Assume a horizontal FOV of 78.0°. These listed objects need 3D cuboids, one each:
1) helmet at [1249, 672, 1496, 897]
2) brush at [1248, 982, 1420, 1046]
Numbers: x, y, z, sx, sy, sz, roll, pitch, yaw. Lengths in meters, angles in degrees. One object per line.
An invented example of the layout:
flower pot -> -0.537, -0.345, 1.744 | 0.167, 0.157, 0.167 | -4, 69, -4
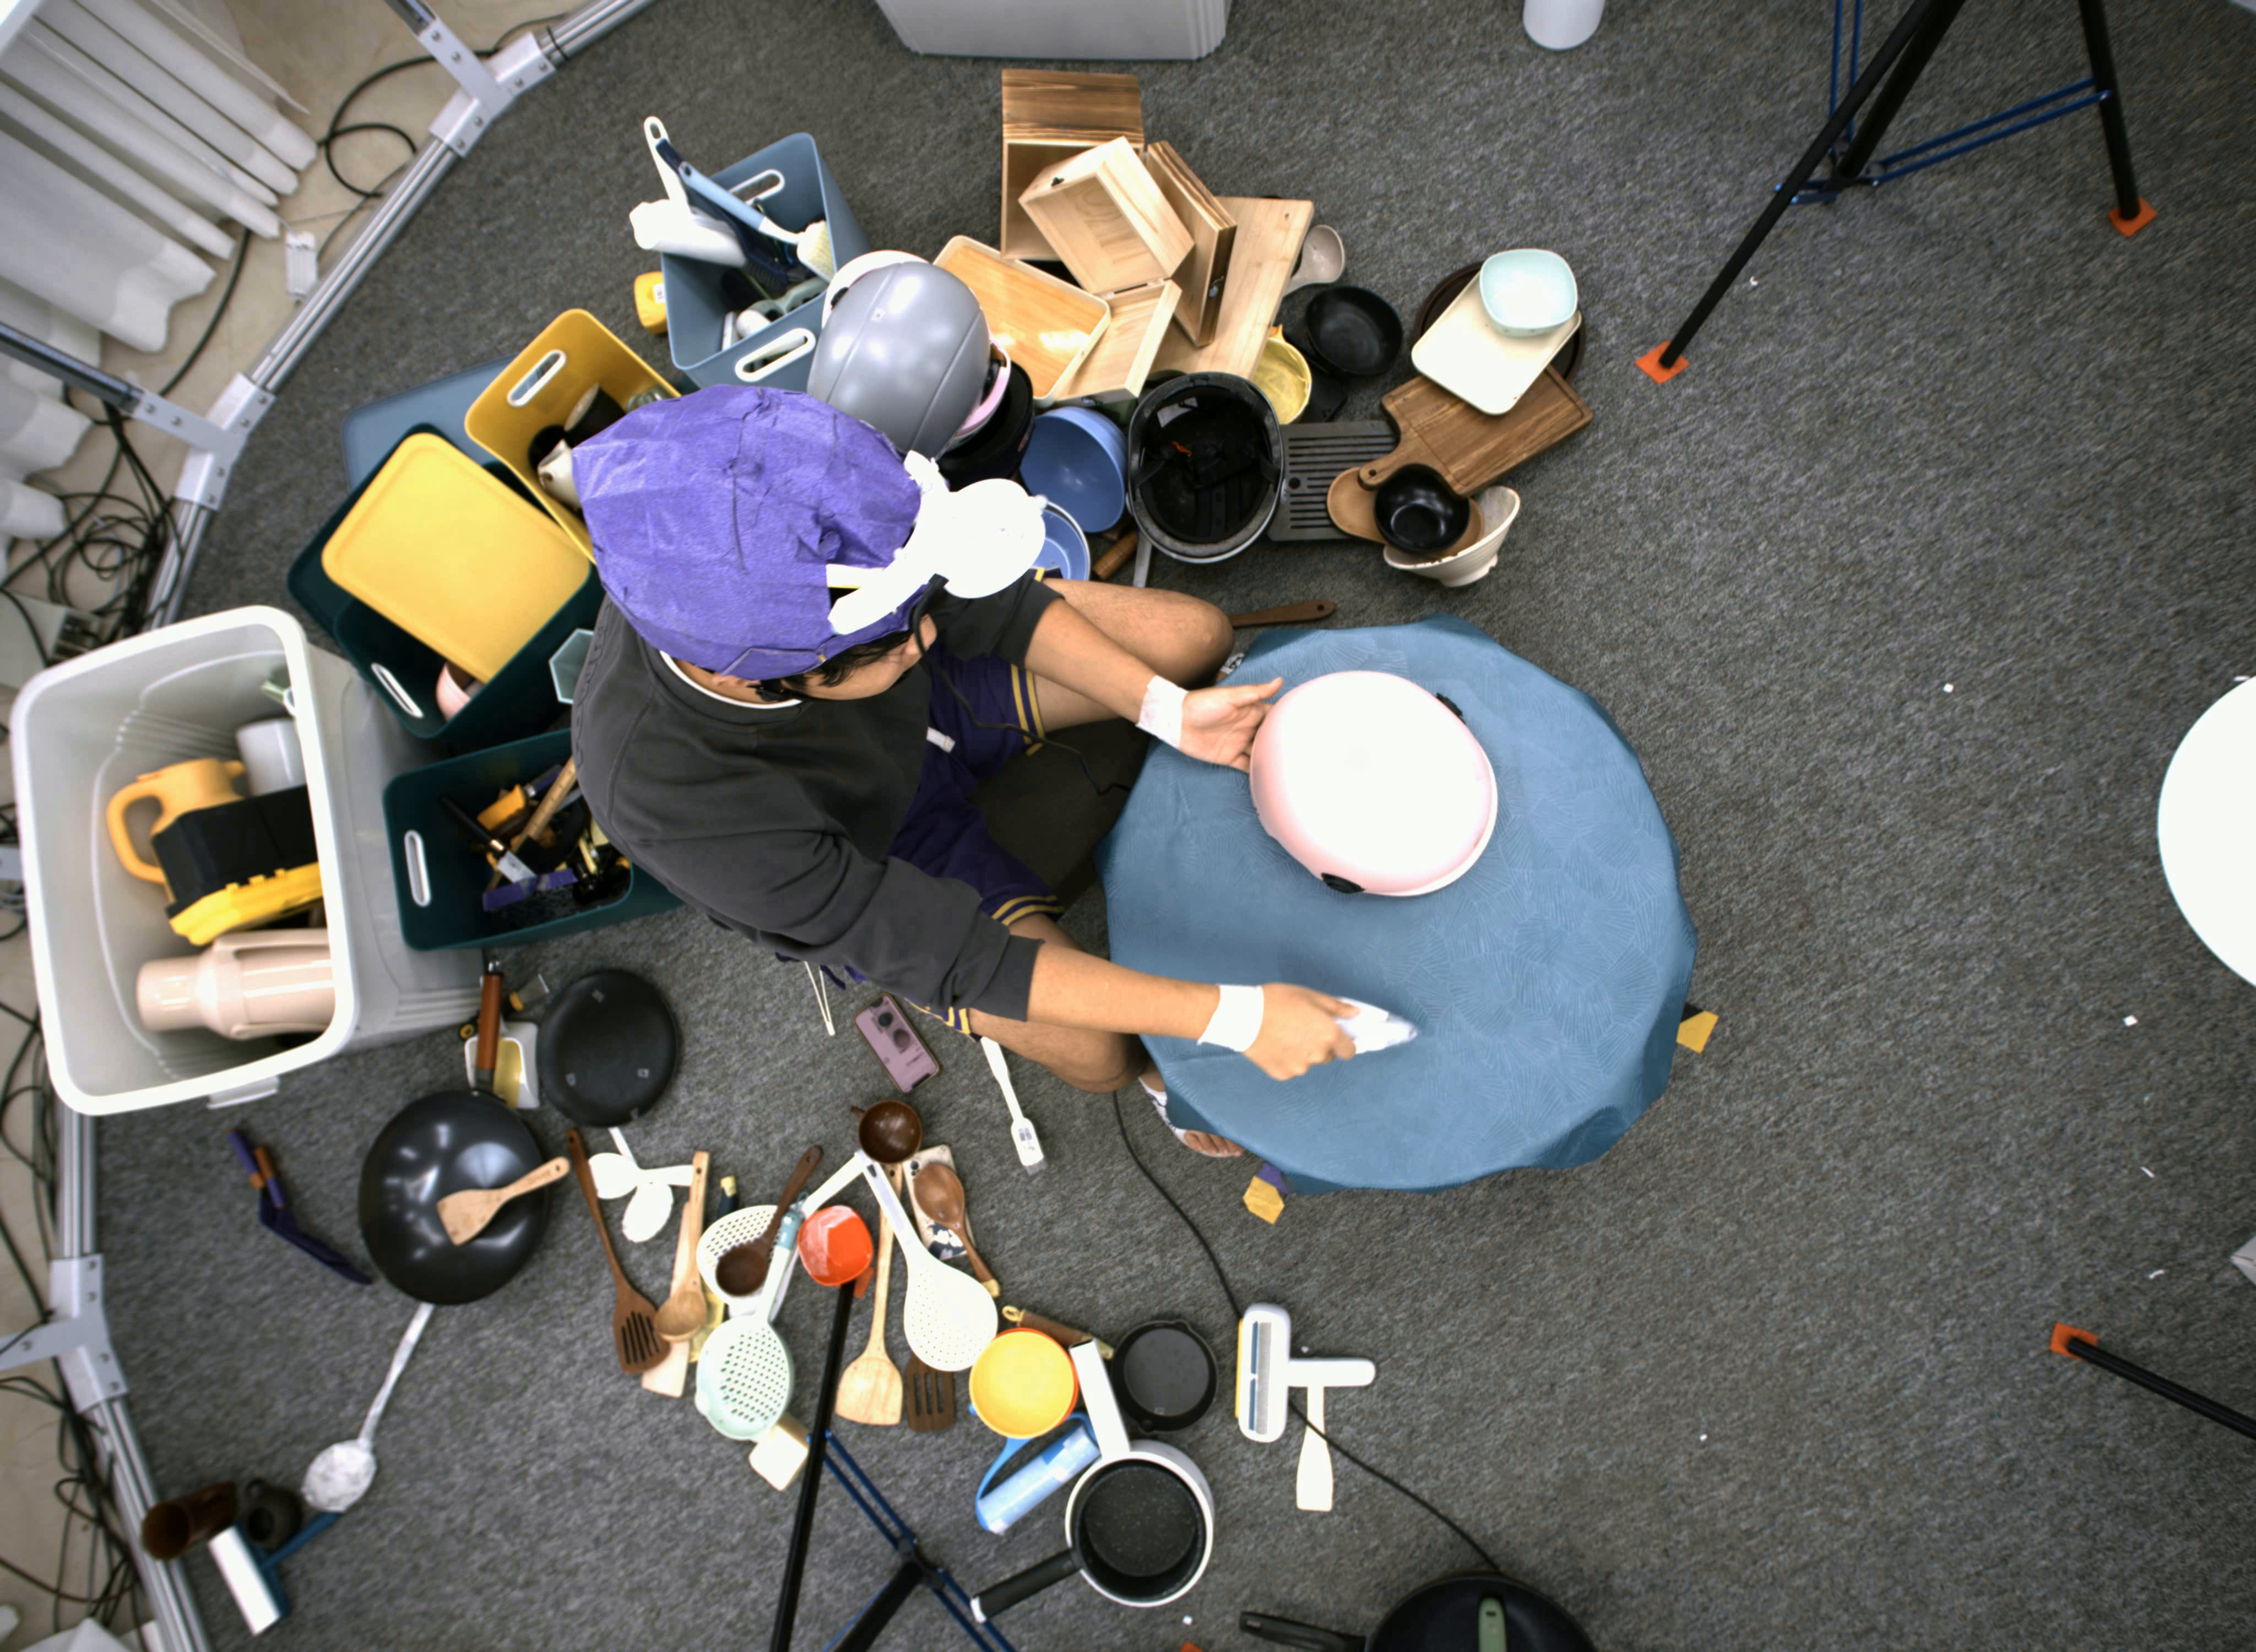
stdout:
helmet -> 0.251, -0.048, 1.393 | 0.265, 0.159, 0.234 | 31, 91, 7
brush -> 0.209, 0.190, 1.376 | 0.176, 0.094, 0.061 | 6, 86, 2
